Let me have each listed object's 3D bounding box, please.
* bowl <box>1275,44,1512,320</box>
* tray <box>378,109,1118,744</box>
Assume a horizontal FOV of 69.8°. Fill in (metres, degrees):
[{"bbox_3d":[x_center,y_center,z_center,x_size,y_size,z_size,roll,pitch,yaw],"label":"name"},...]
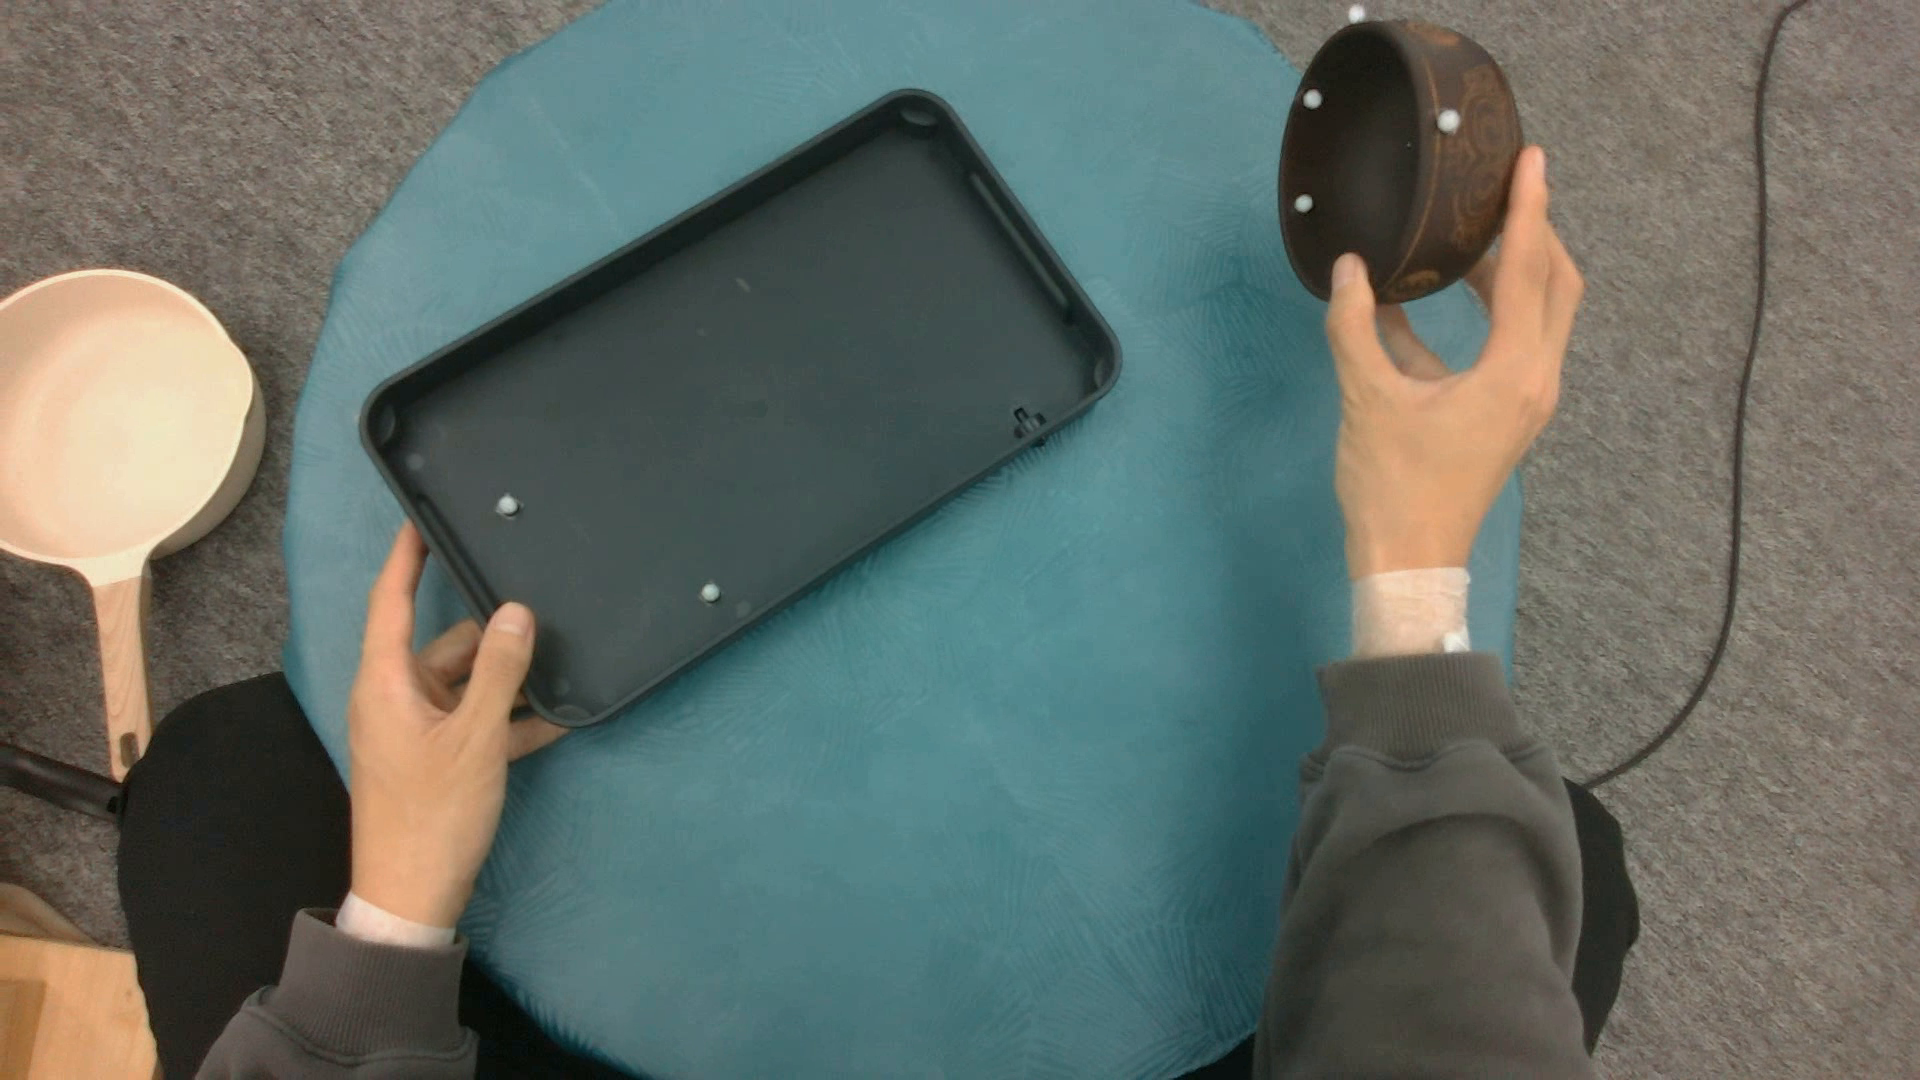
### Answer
[{"bbox_3d":[0.197,-0.157,0.609,0.070,0.117,0.118,-5,79,-14],"label":"bowl"},{"bbox_3d":[-0.096,-0.060,0.666,0.318,0.037,0.184,-35,83,-12],"label":"tray"}]
